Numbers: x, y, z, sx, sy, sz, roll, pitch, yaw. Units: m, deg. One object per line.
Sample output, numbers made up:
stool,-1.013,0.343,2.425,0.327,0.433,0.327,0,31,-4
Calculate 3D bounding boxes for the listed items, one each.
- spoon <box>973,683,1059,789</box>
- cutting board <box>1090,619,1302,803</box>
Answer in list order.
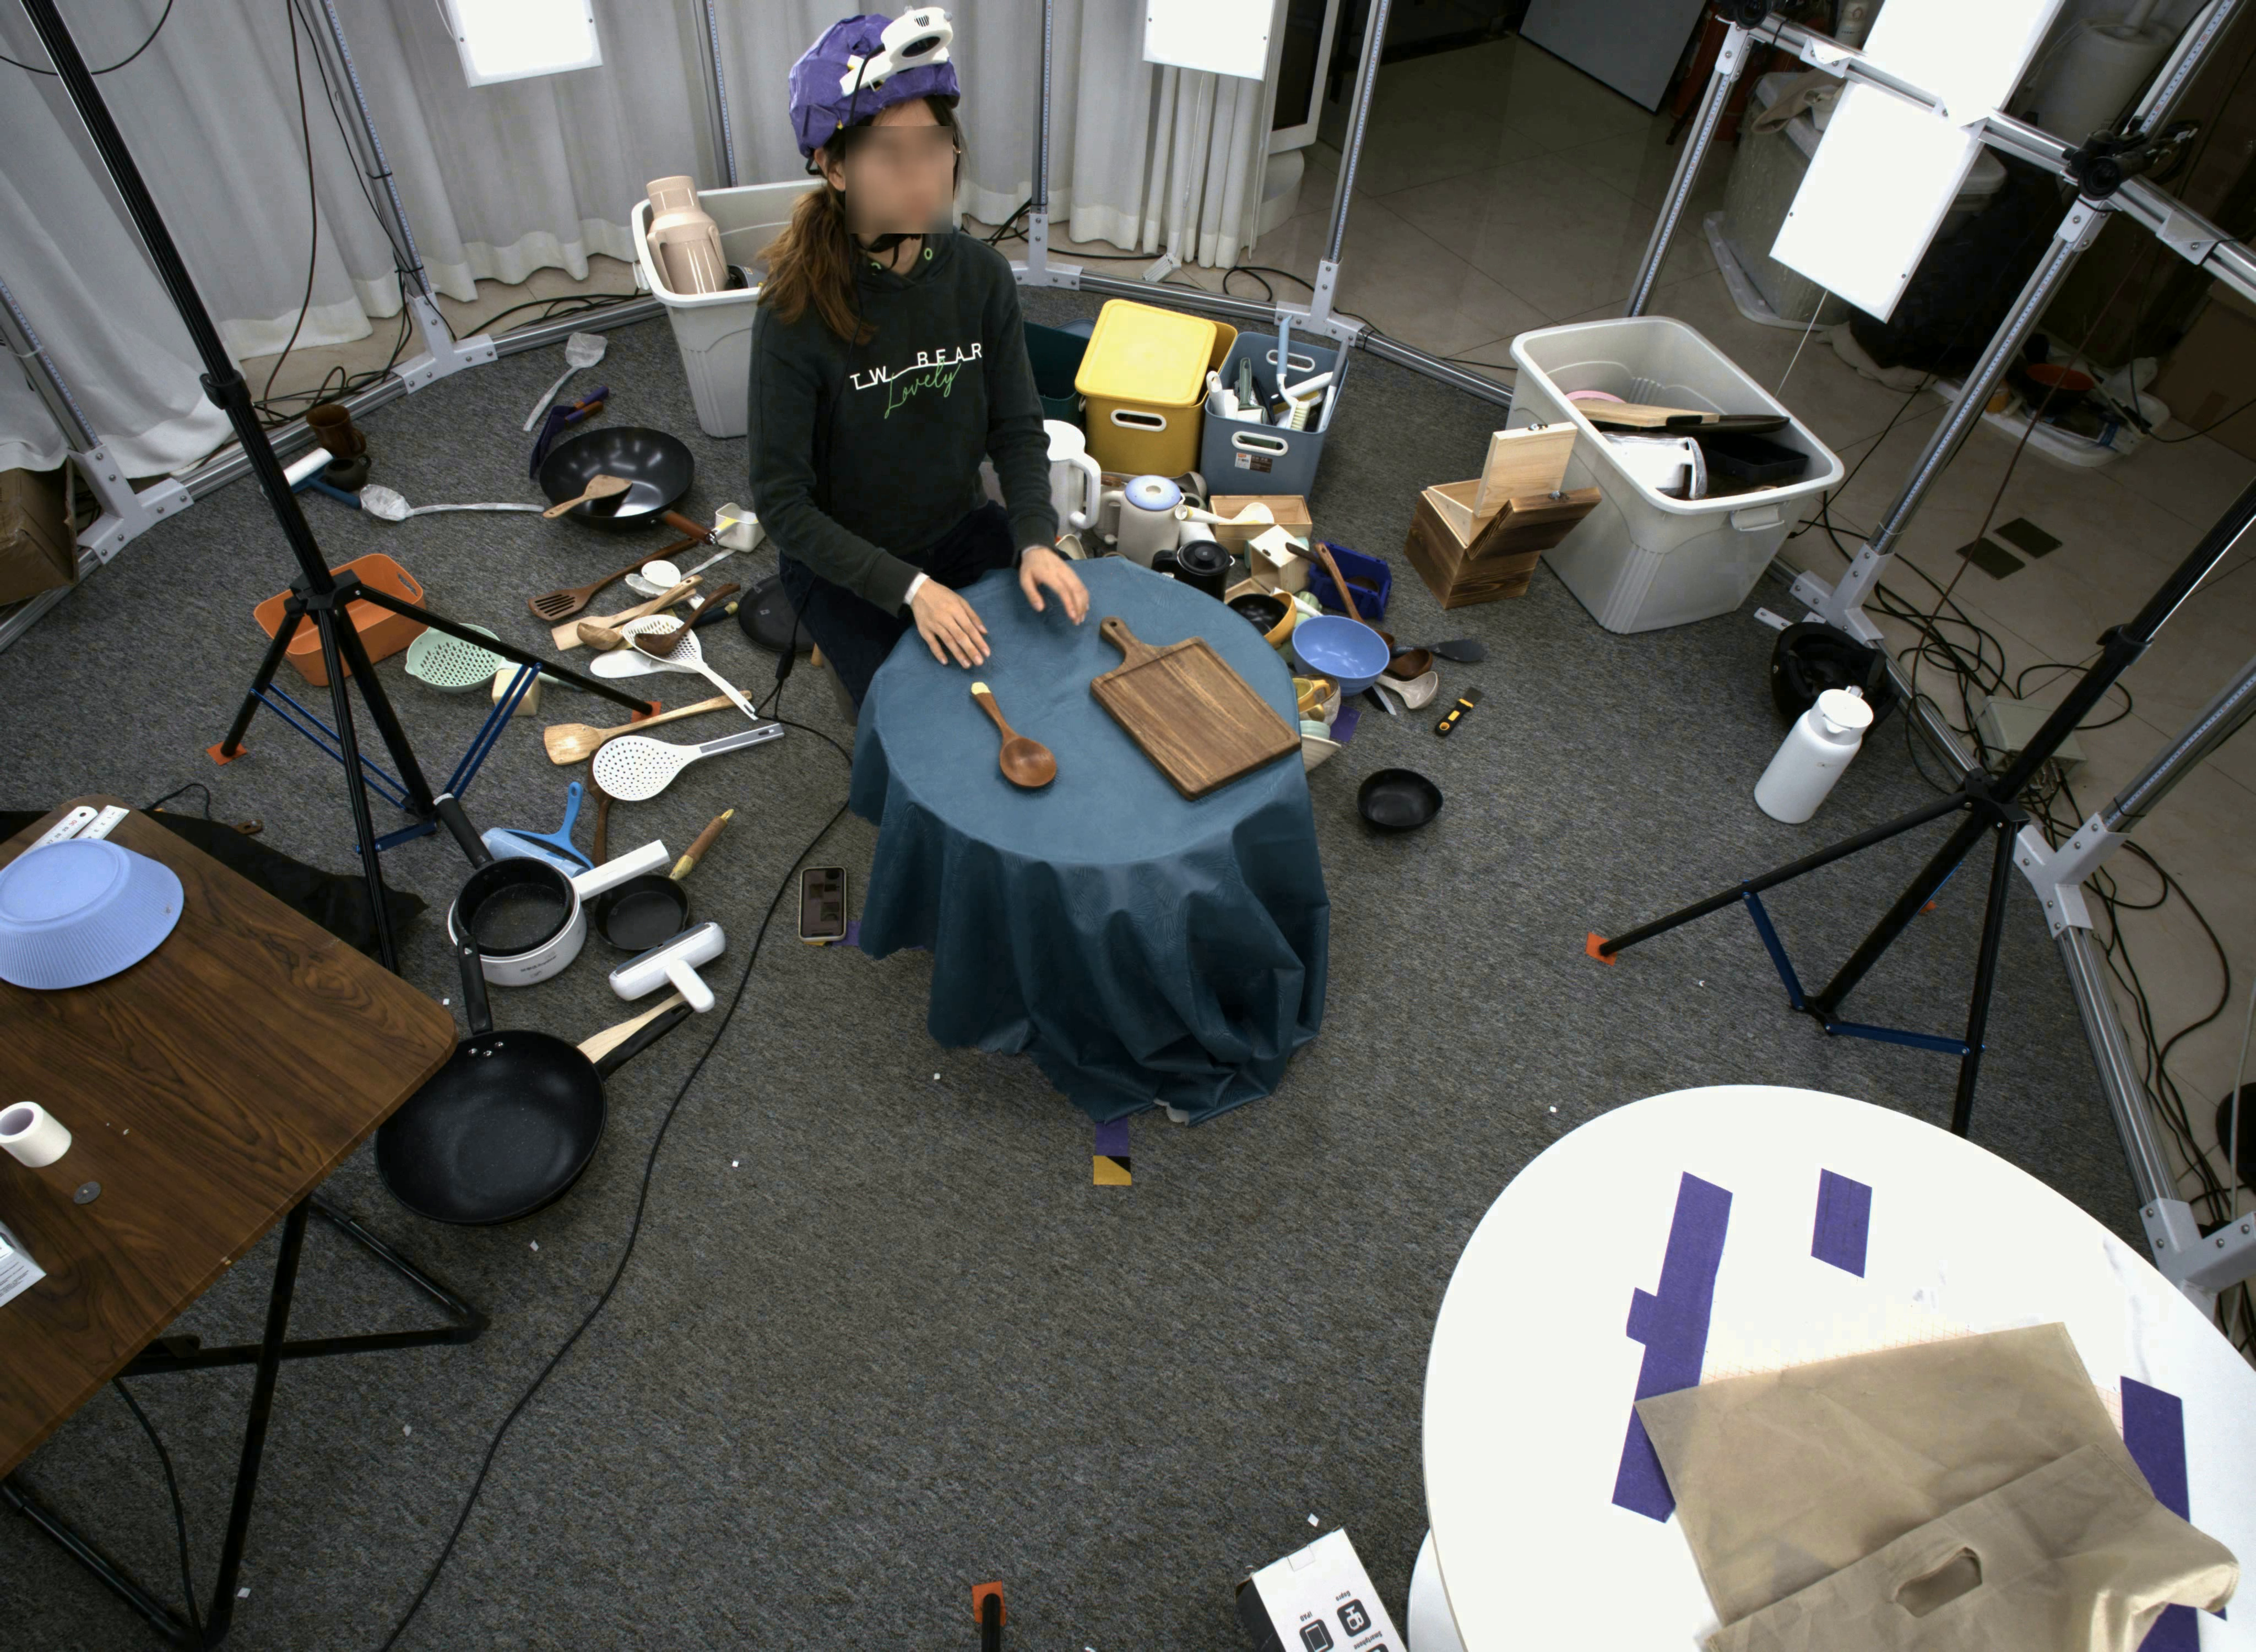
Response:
spoon,-0.162,-0.125,1.771,0.075,0.017,0.220,-21,54,-18
cutting board,0.067,-0.189,1.841,0.202,0.022,0.359,-25,55,-23
